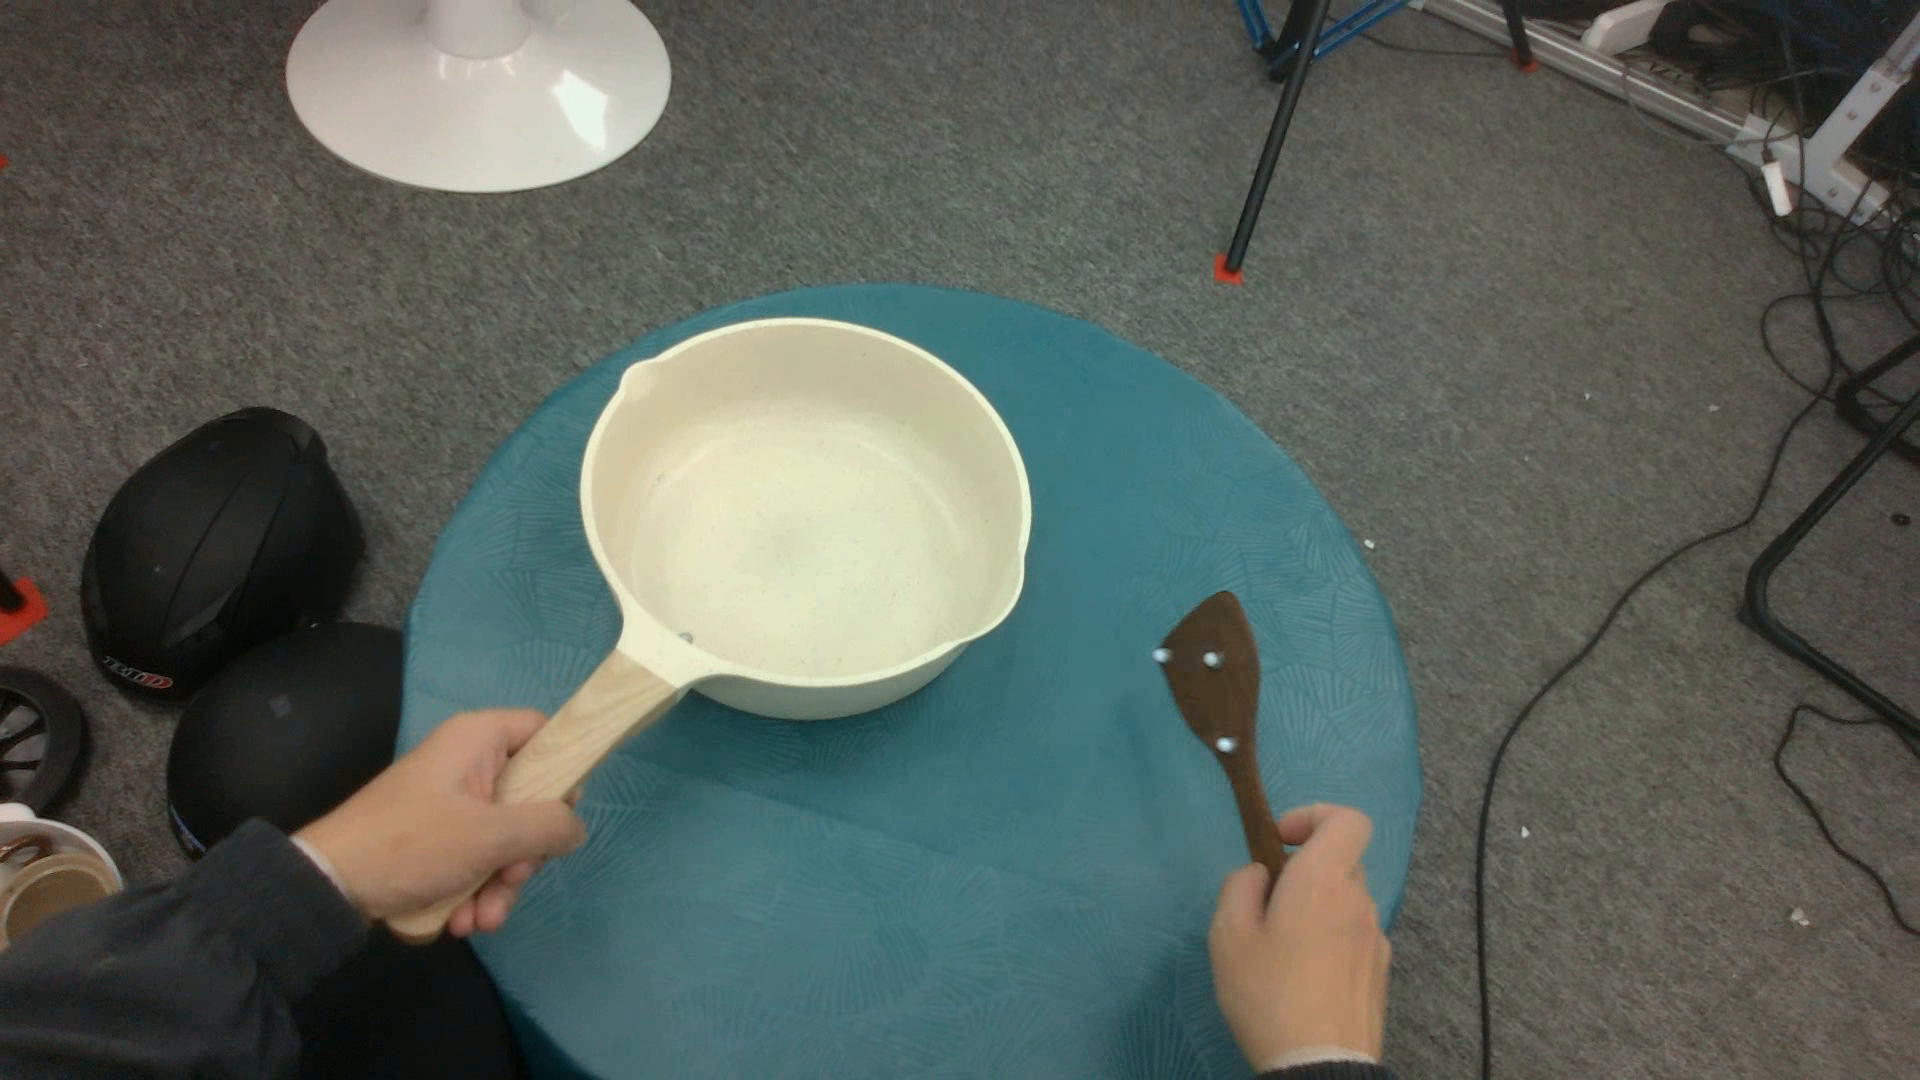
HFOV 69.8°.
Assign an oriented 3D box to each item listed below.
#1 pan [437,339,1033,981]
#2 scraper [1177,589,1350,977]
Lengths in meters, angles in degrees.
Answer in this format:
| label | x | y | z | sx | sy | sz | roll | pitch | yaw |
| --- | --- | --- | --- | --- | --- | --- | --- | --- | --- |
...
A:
| label | x | y | z | sx | sy | sz | roll | pitch | yaw |
| --- | --- | --- | --- | --- | --- | --- | --- | --- | --- |
| pan | -0.129 | 0.062 | 0.763 | 0.263 | 0.101 | 0.437 | 29 | 56 | 9 |
| scraper | 0.166 | 0.128 | 0.739 | 0.011 | 0.075 | 0.212 | 9 | 50 | -29 |
